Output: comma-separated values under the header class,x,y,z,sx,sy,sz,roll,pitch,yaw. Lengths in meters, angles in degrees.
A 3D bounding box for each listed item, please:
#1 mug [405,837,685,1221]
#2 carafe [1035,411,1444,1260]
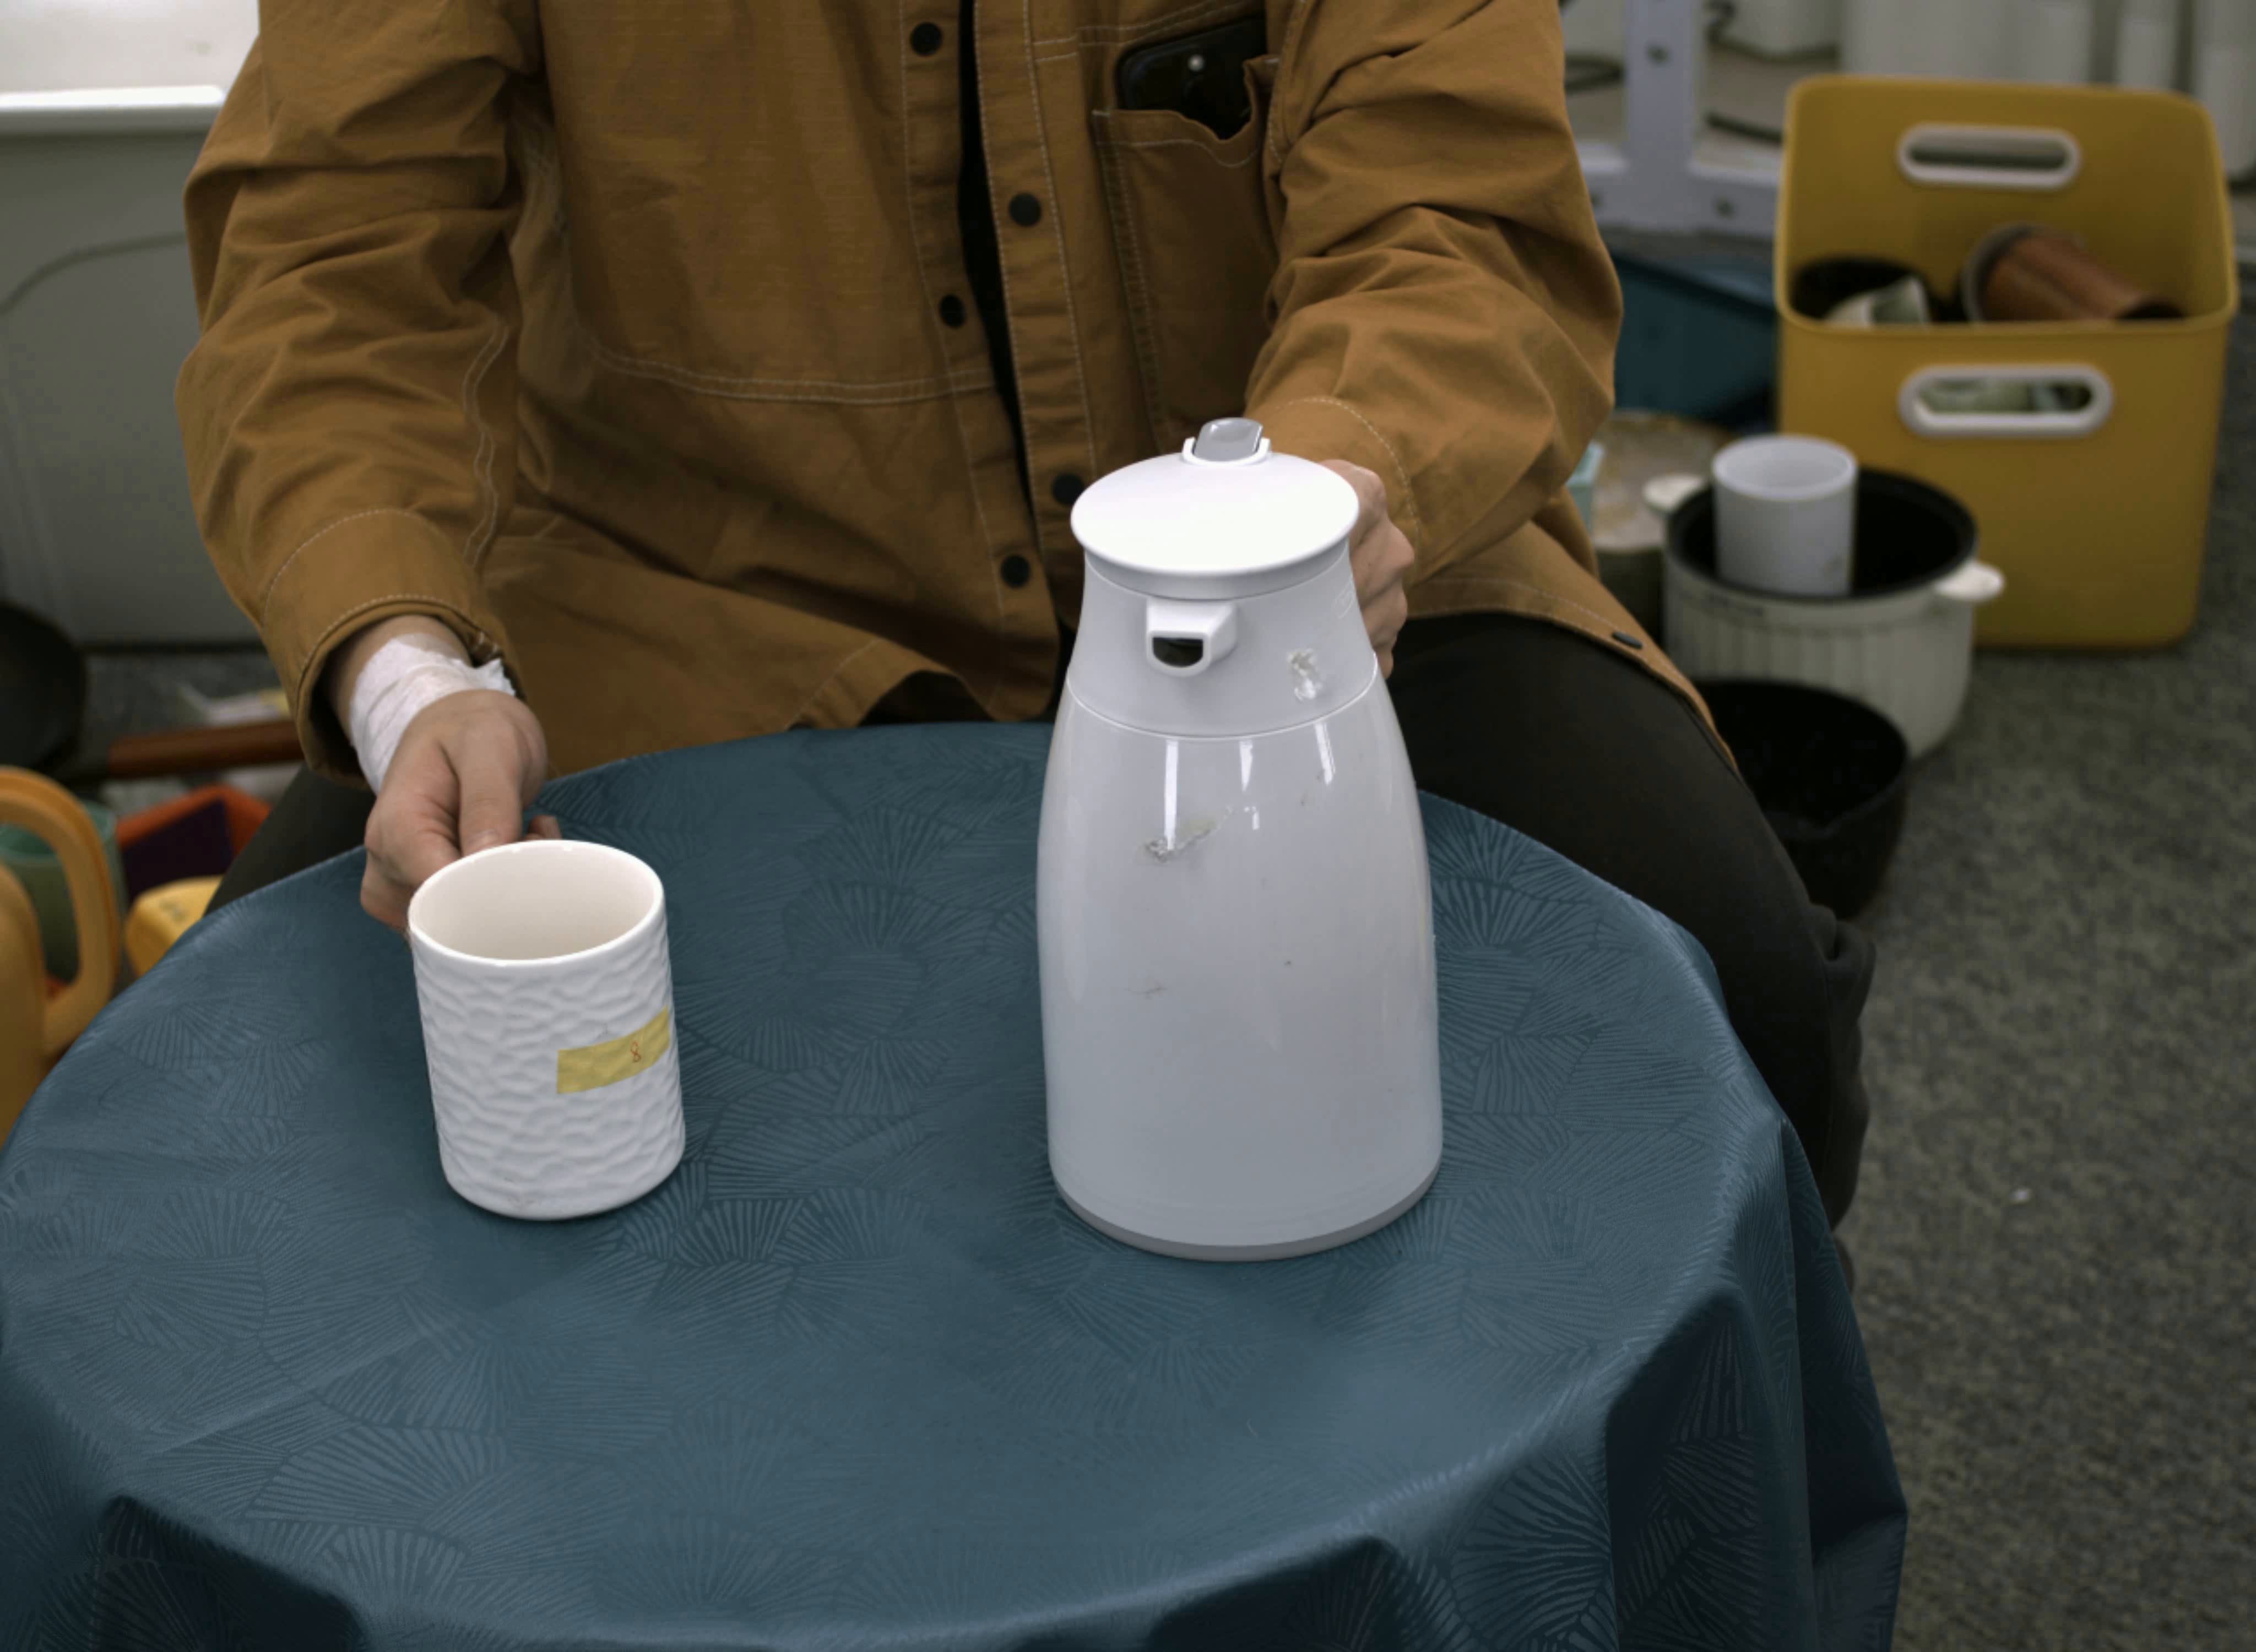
class,x,y,z,sx,sy,sz,roll,pitch,yaw
mug,-0.199,0.062,1.883,0.085,0.101,0.119,-13,28,-18
carafe,0.035,-0.007,1.838,0.131,0.246,0.170,1,26,11
